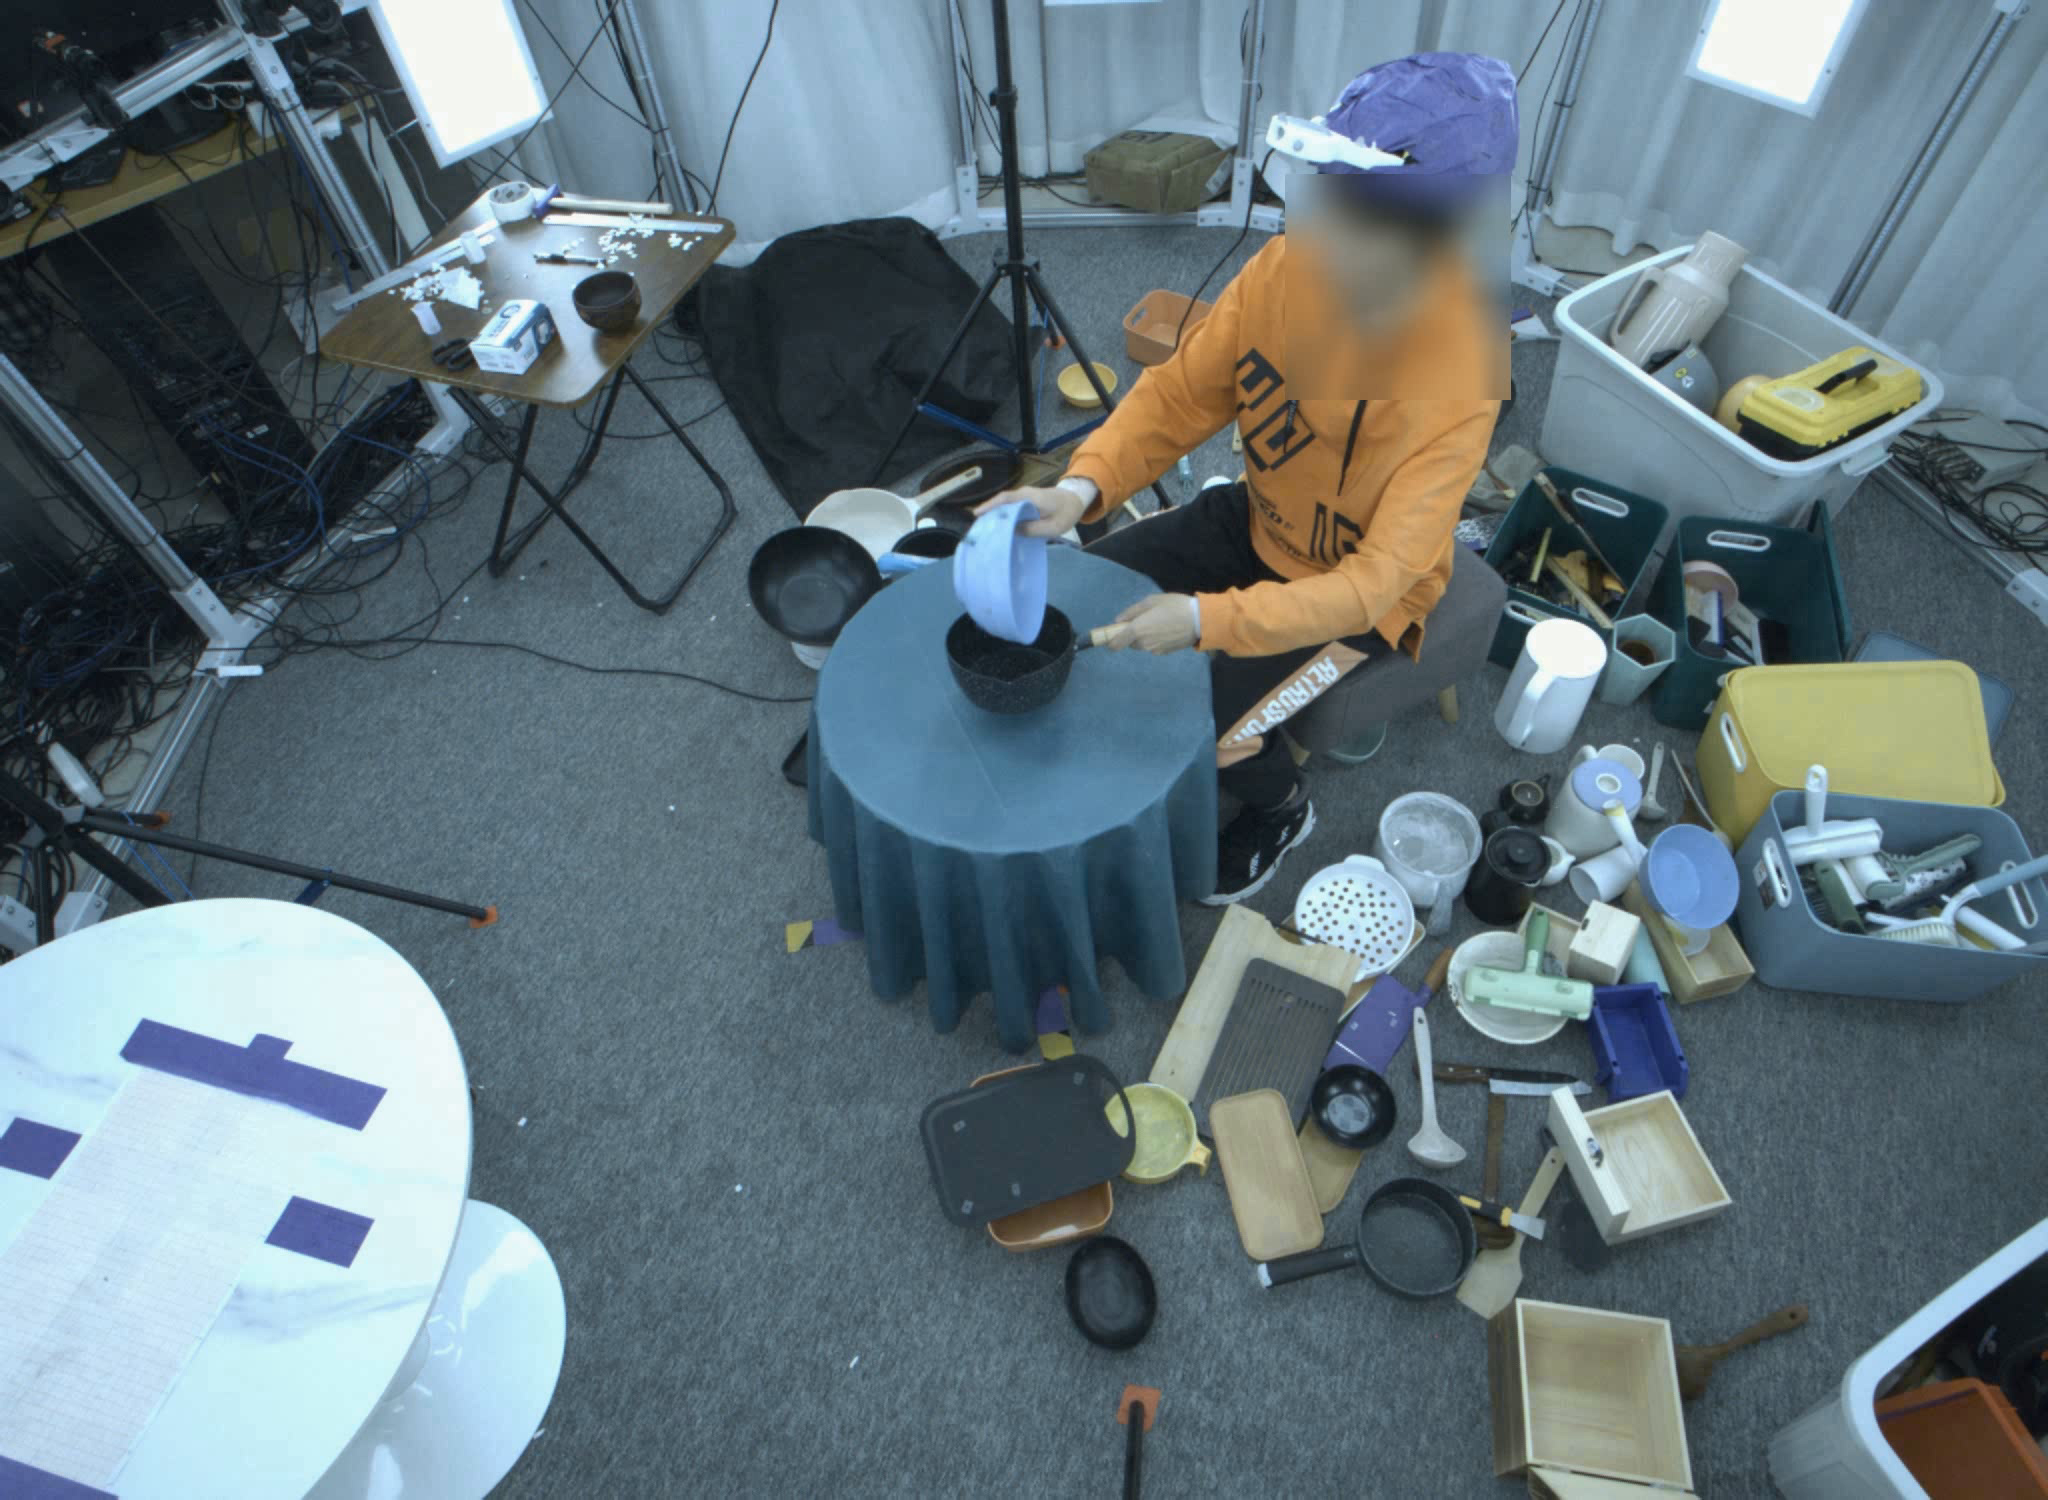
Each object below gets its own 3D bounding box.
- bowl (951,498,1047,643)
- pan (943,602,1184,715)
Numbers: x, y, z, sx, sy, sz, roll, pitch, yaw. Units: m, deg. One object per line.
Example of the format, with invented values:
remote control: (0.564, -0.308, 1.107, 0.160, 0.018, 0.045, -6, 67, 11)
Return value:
bowl: (-0.041, -0.245, 1.682, 0.094, 0.200, 0.195, 1, 55, 17)
pan: (0.059, -0.146, 1.765, 0.343, 0.109, 0.205, -6, 43, 1)
